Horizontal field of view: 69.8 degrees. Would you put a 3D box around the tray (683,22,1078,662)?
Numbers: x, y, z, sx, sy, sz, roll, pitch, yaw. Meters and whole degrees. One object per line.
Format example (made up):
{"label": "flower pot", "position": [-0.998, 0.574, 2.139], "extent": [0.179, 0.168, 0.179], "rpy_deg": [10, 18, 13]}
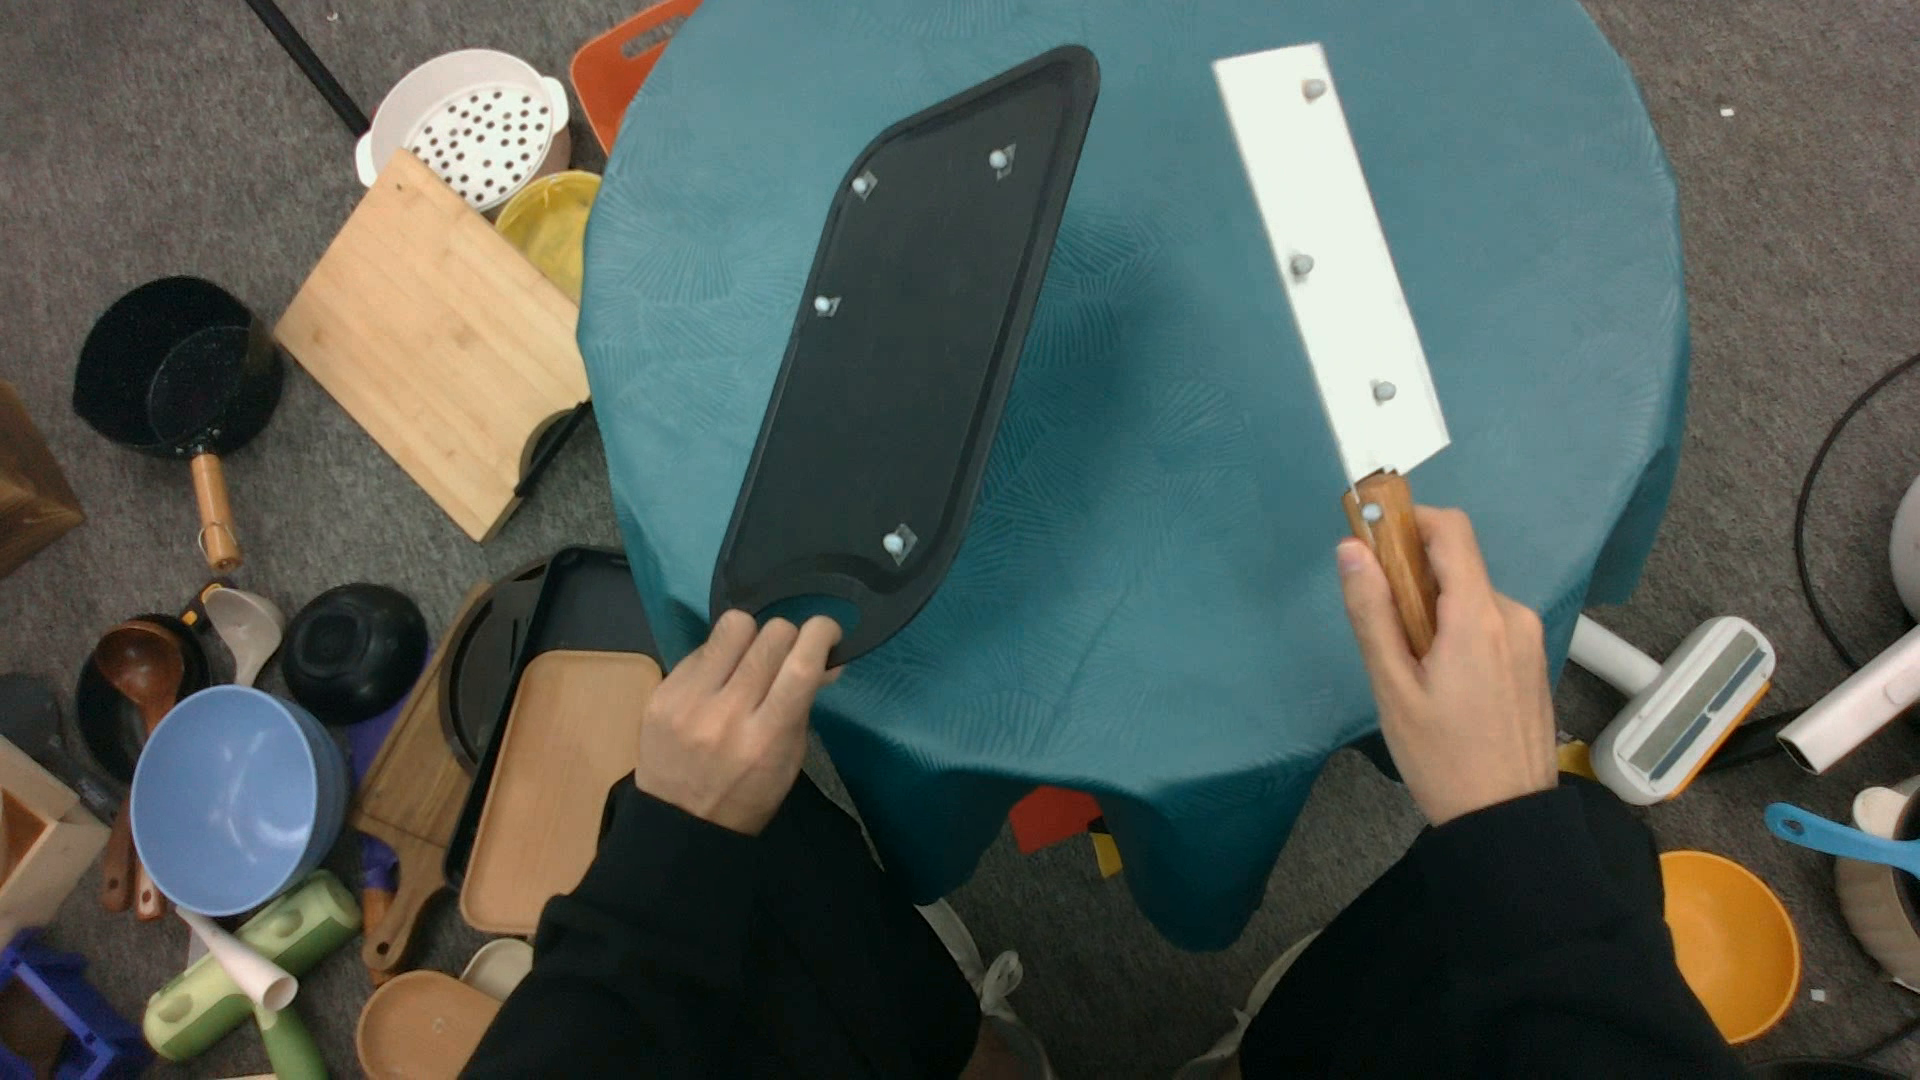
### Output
{"label": "tray", "position": [-0.046, -0.096, 0.662], "extent": [0.210, 0.010, 0.326], "rpy_deg": [-4, 64, 50]}

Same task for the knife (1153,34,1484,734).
{"label": "knife", "position": [0.166, -0.068, 0.588], "extent": [0.093, 0.021, 0.305], "rpy_deg": [-33, 101, -40]}
